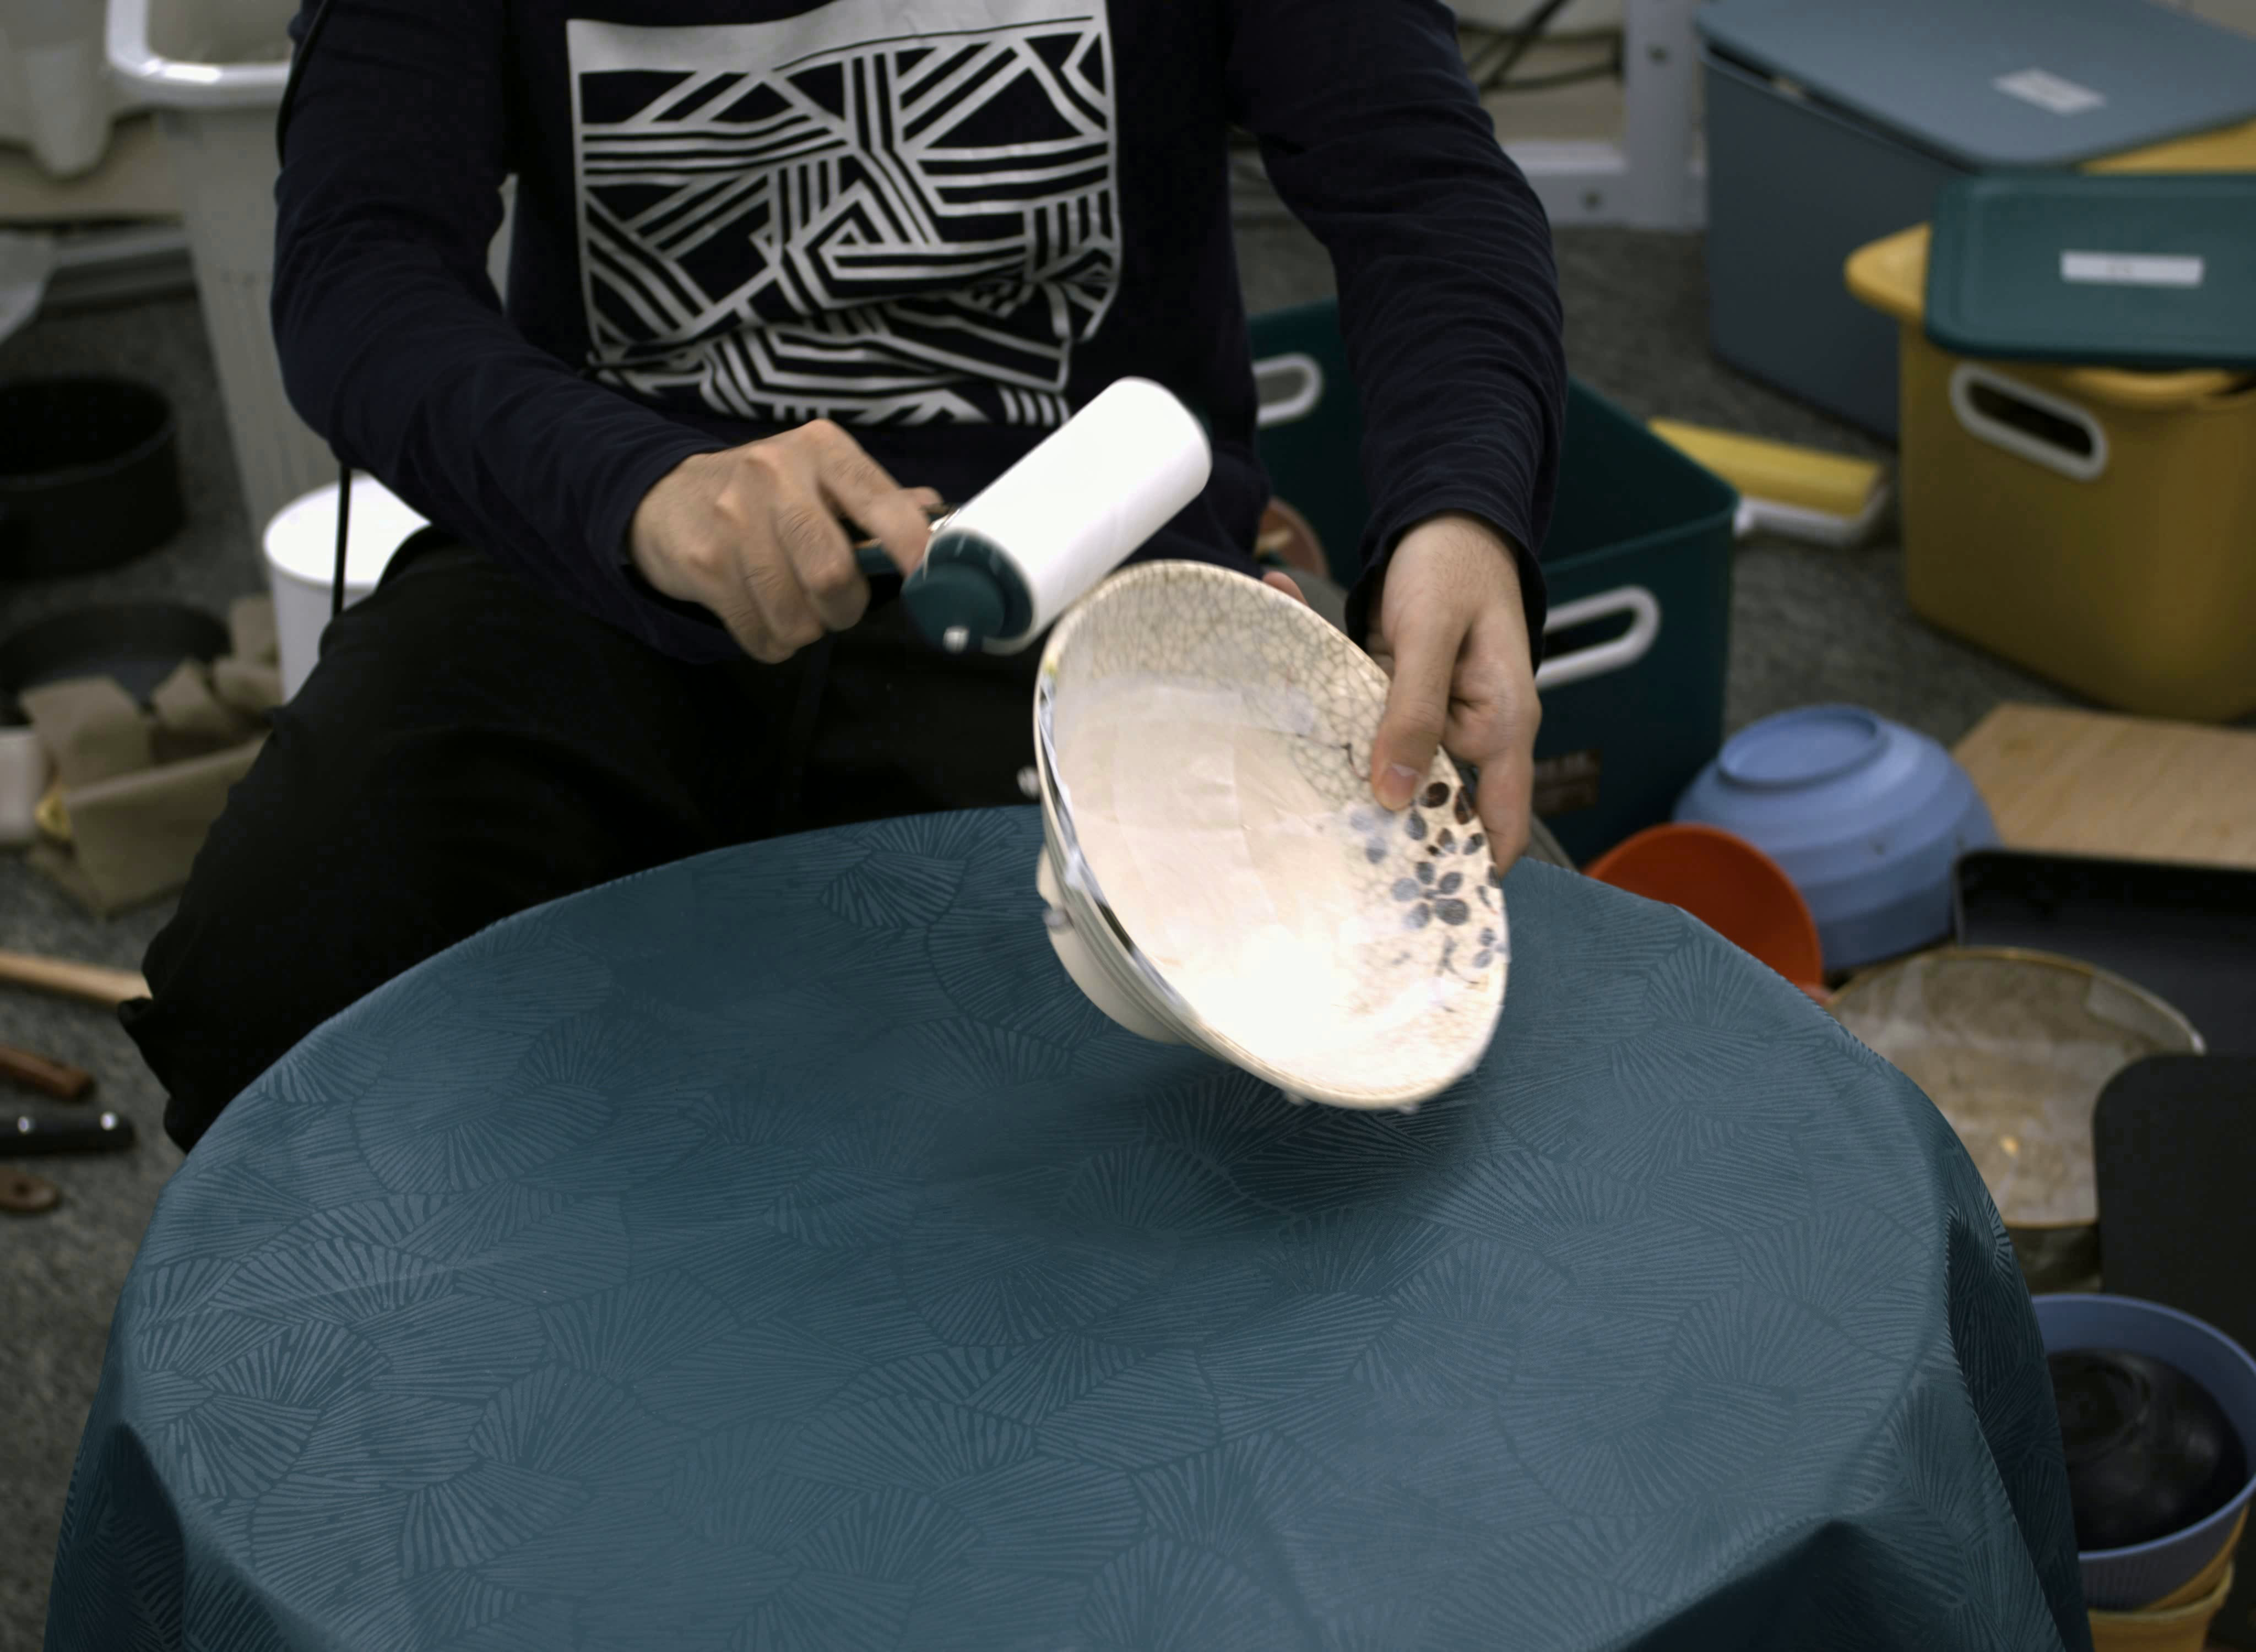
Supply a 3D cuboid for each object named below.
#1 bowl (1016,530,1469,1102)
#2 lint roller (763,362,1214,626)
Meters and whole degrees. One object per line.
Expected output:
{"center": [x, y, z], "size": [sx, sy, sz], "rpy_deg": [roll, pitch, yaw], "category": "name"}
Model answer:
{"center": [0.020, 0.010, 1.873], "size": [0.077, 0.203, 0.207], "rpy_deg": [-30, 10, 34], "category": "bowl"}
{"center": [-0.066, -0.106, 1.903], "size": [0.178, 0.048, 0.136], "rpy_deg": [-4, 26, 43], "category": "lint roller"}
